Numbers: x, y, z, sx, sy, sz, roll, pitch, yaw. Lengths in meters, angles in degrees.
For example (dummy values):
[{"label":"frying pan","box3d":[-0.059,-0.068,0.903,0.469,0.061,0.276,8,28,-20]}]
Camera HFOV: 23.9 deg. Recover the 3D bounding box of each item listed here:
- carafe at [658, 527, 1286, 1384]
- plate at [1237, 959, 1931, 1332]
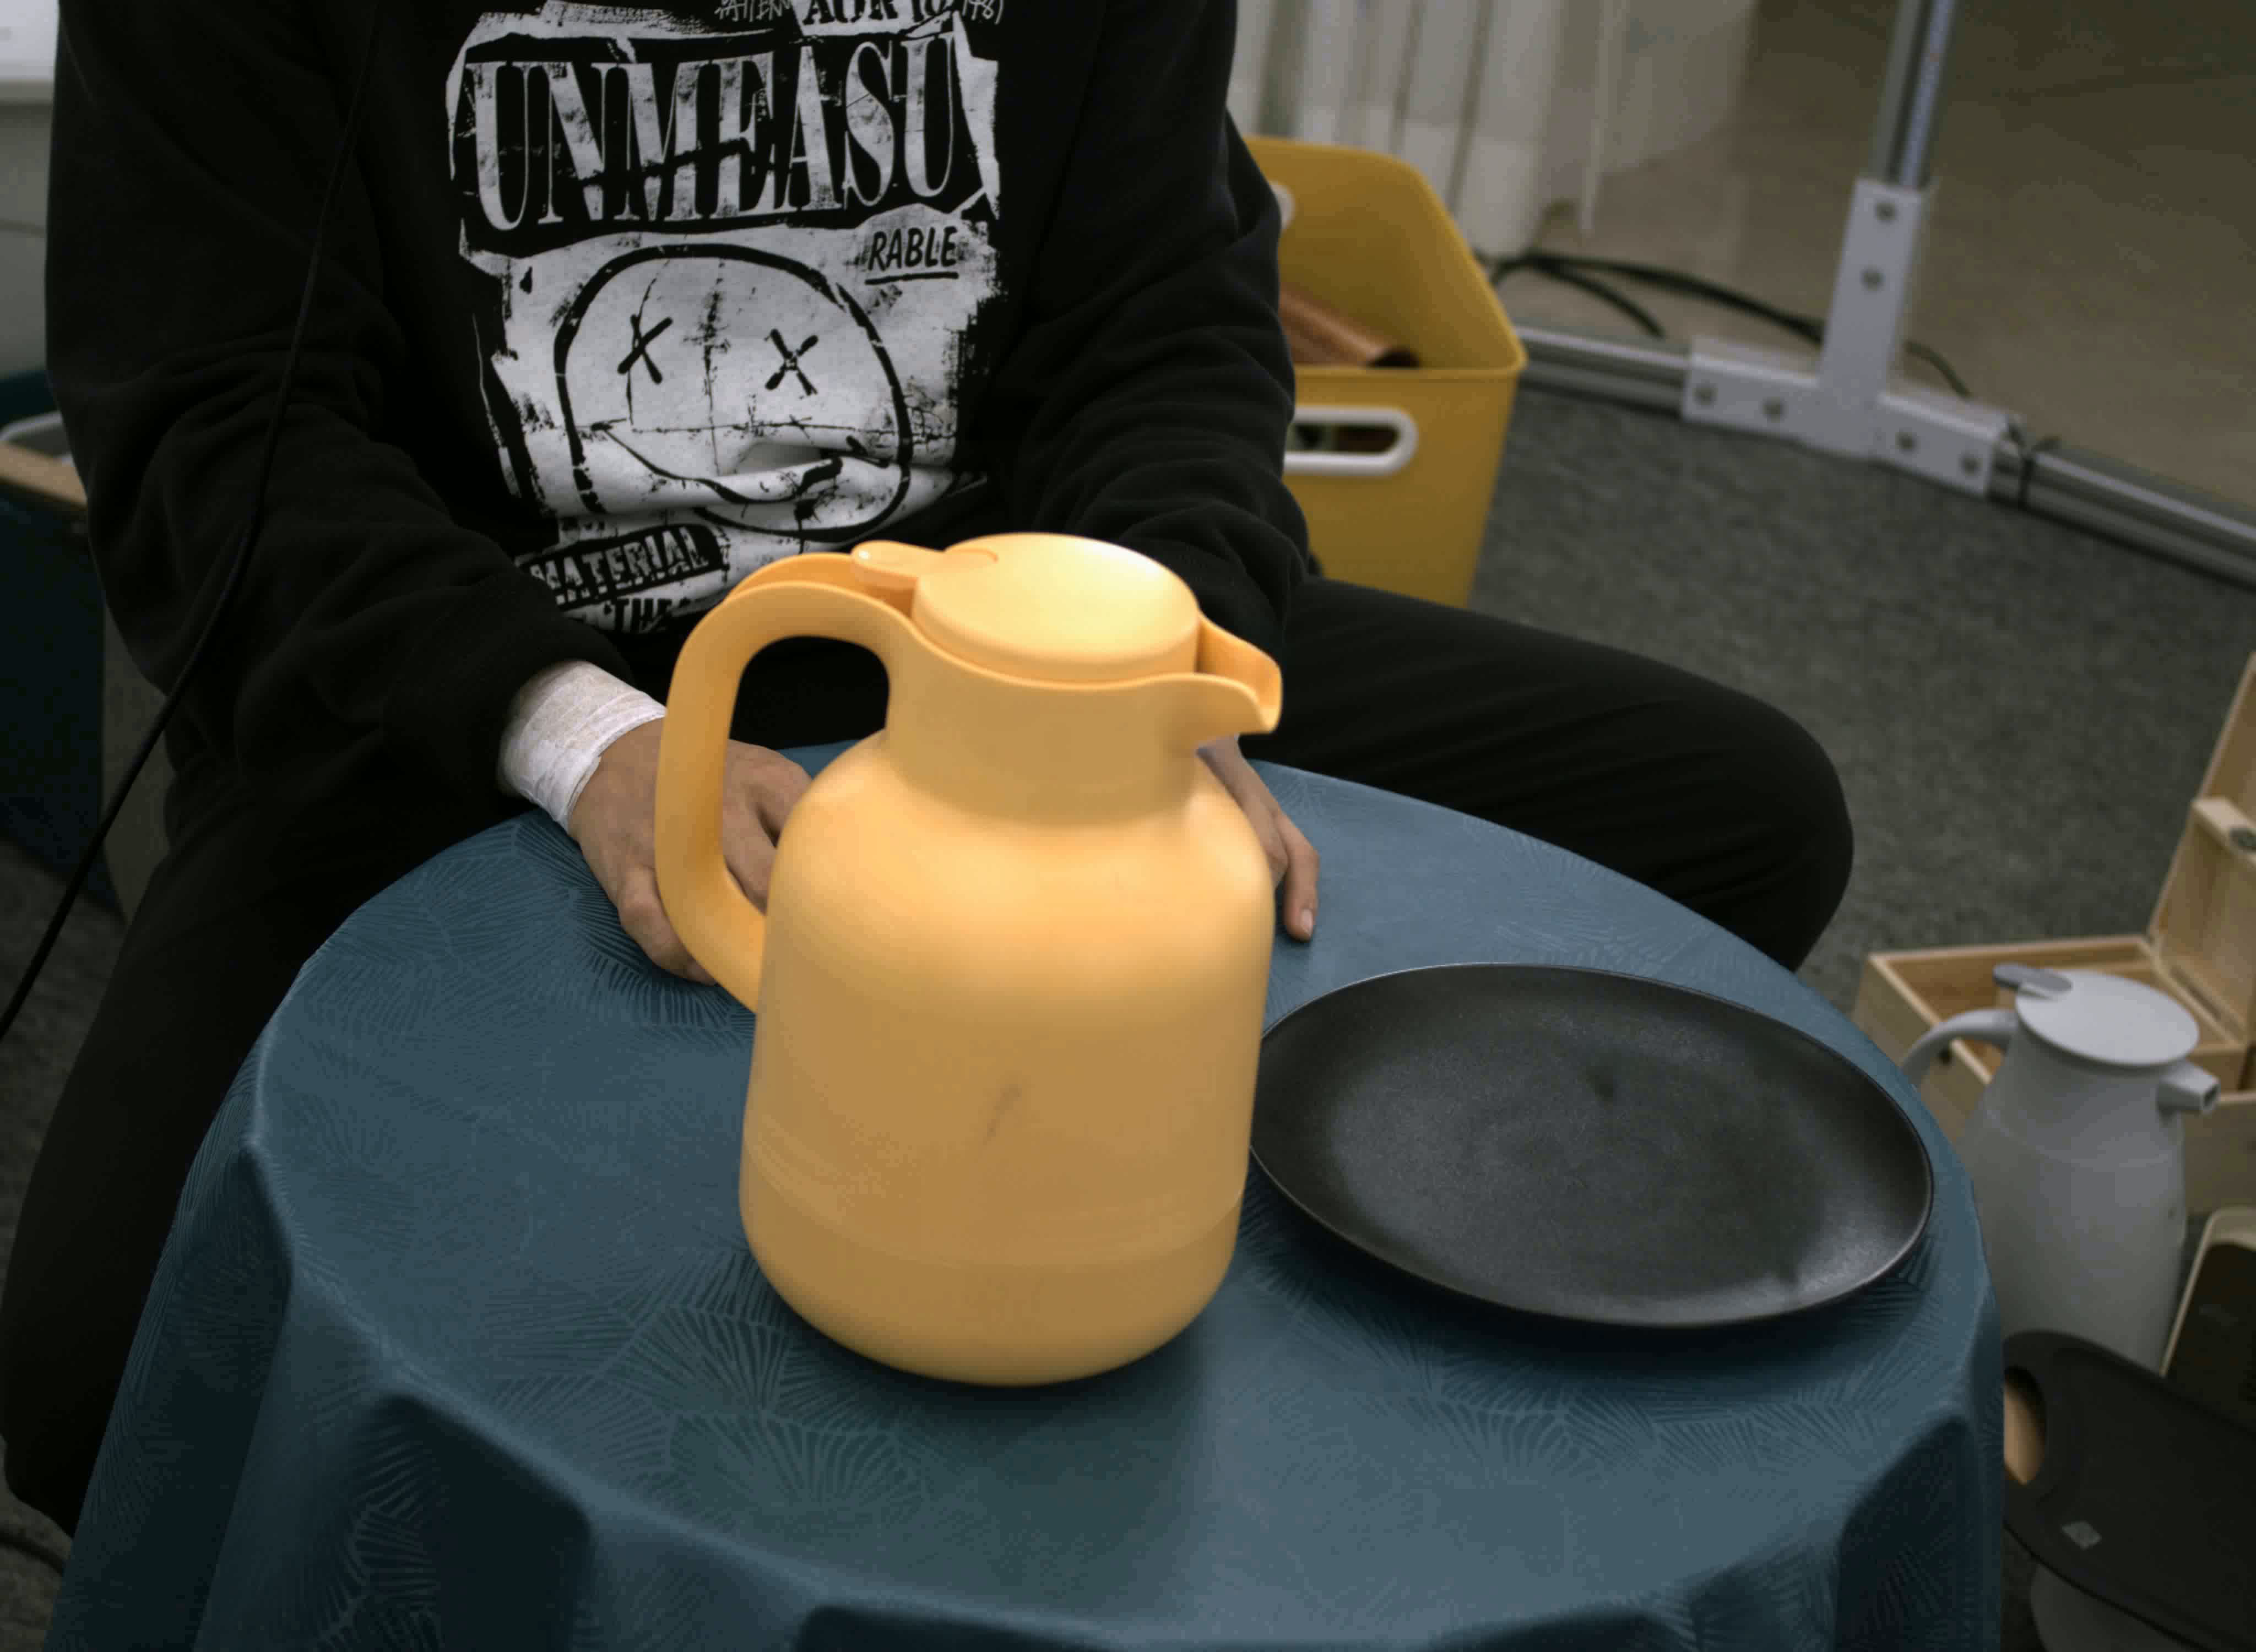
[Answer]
[{"label":"carafe","box3d":[-0.054,0.031,1.688,0.203,0.260,0.163,16,26,15]},{"label":"plate","box3d":[0.154,0.115,1.831,0.243,0.023,0.246,5,27,-3]}]
